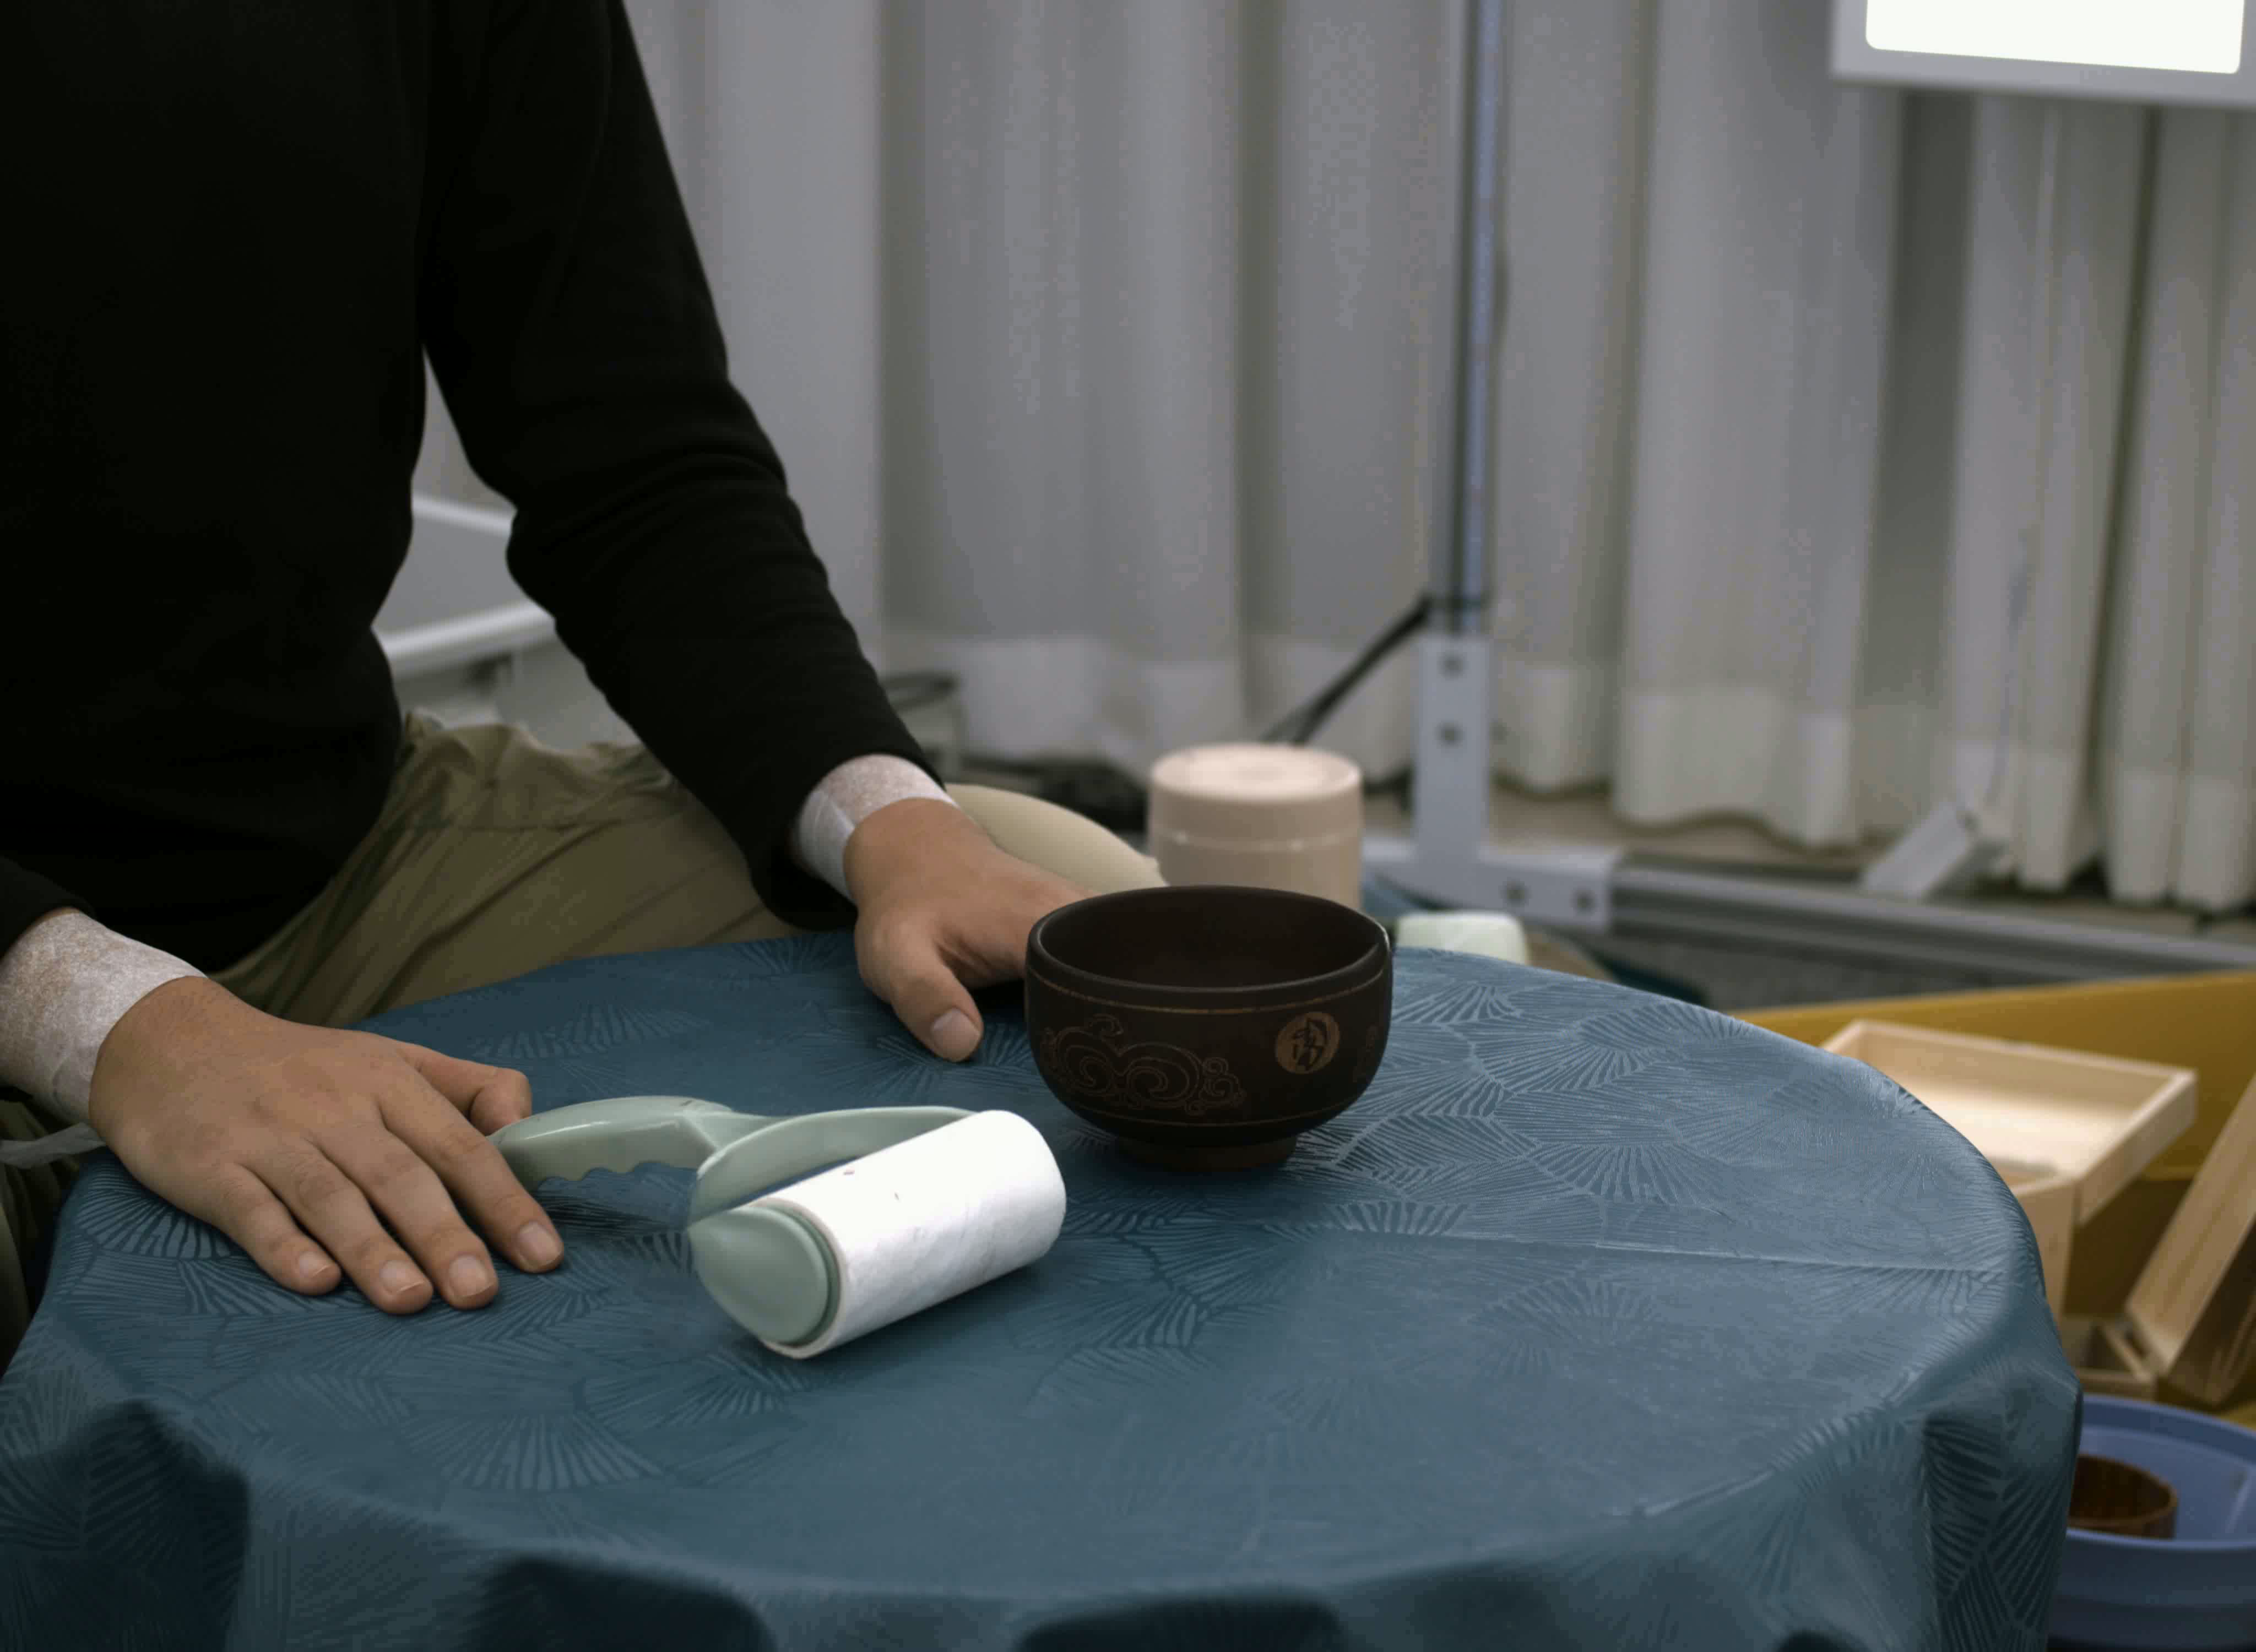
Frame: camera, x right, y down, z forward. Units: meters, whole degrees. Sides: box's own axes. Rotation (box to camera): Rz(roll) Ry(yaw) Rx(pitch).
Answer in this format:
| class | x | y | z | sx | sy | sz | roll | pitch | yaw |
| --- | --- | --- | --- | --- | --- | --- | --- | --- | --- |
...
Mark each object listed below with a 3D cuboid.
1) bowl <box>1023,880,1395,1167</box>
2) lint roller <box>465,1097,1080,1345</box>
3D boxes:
| class | x | y | z | sx | sy | sz | roll | pitch | yaw |
| --- | --- | --- | --- | --- | --- | --- | --- | --- | --- |
| bowl | 0.026 | 0.066 | 1.656 | 0.117 | 0.070 | 0.117 | -1 | 16 | 1 |
| lint roller | -0.120 | 0.104 | 1.562 | 0.195 | 0.049 | 0.117 | 9 | 18 | 36 |
